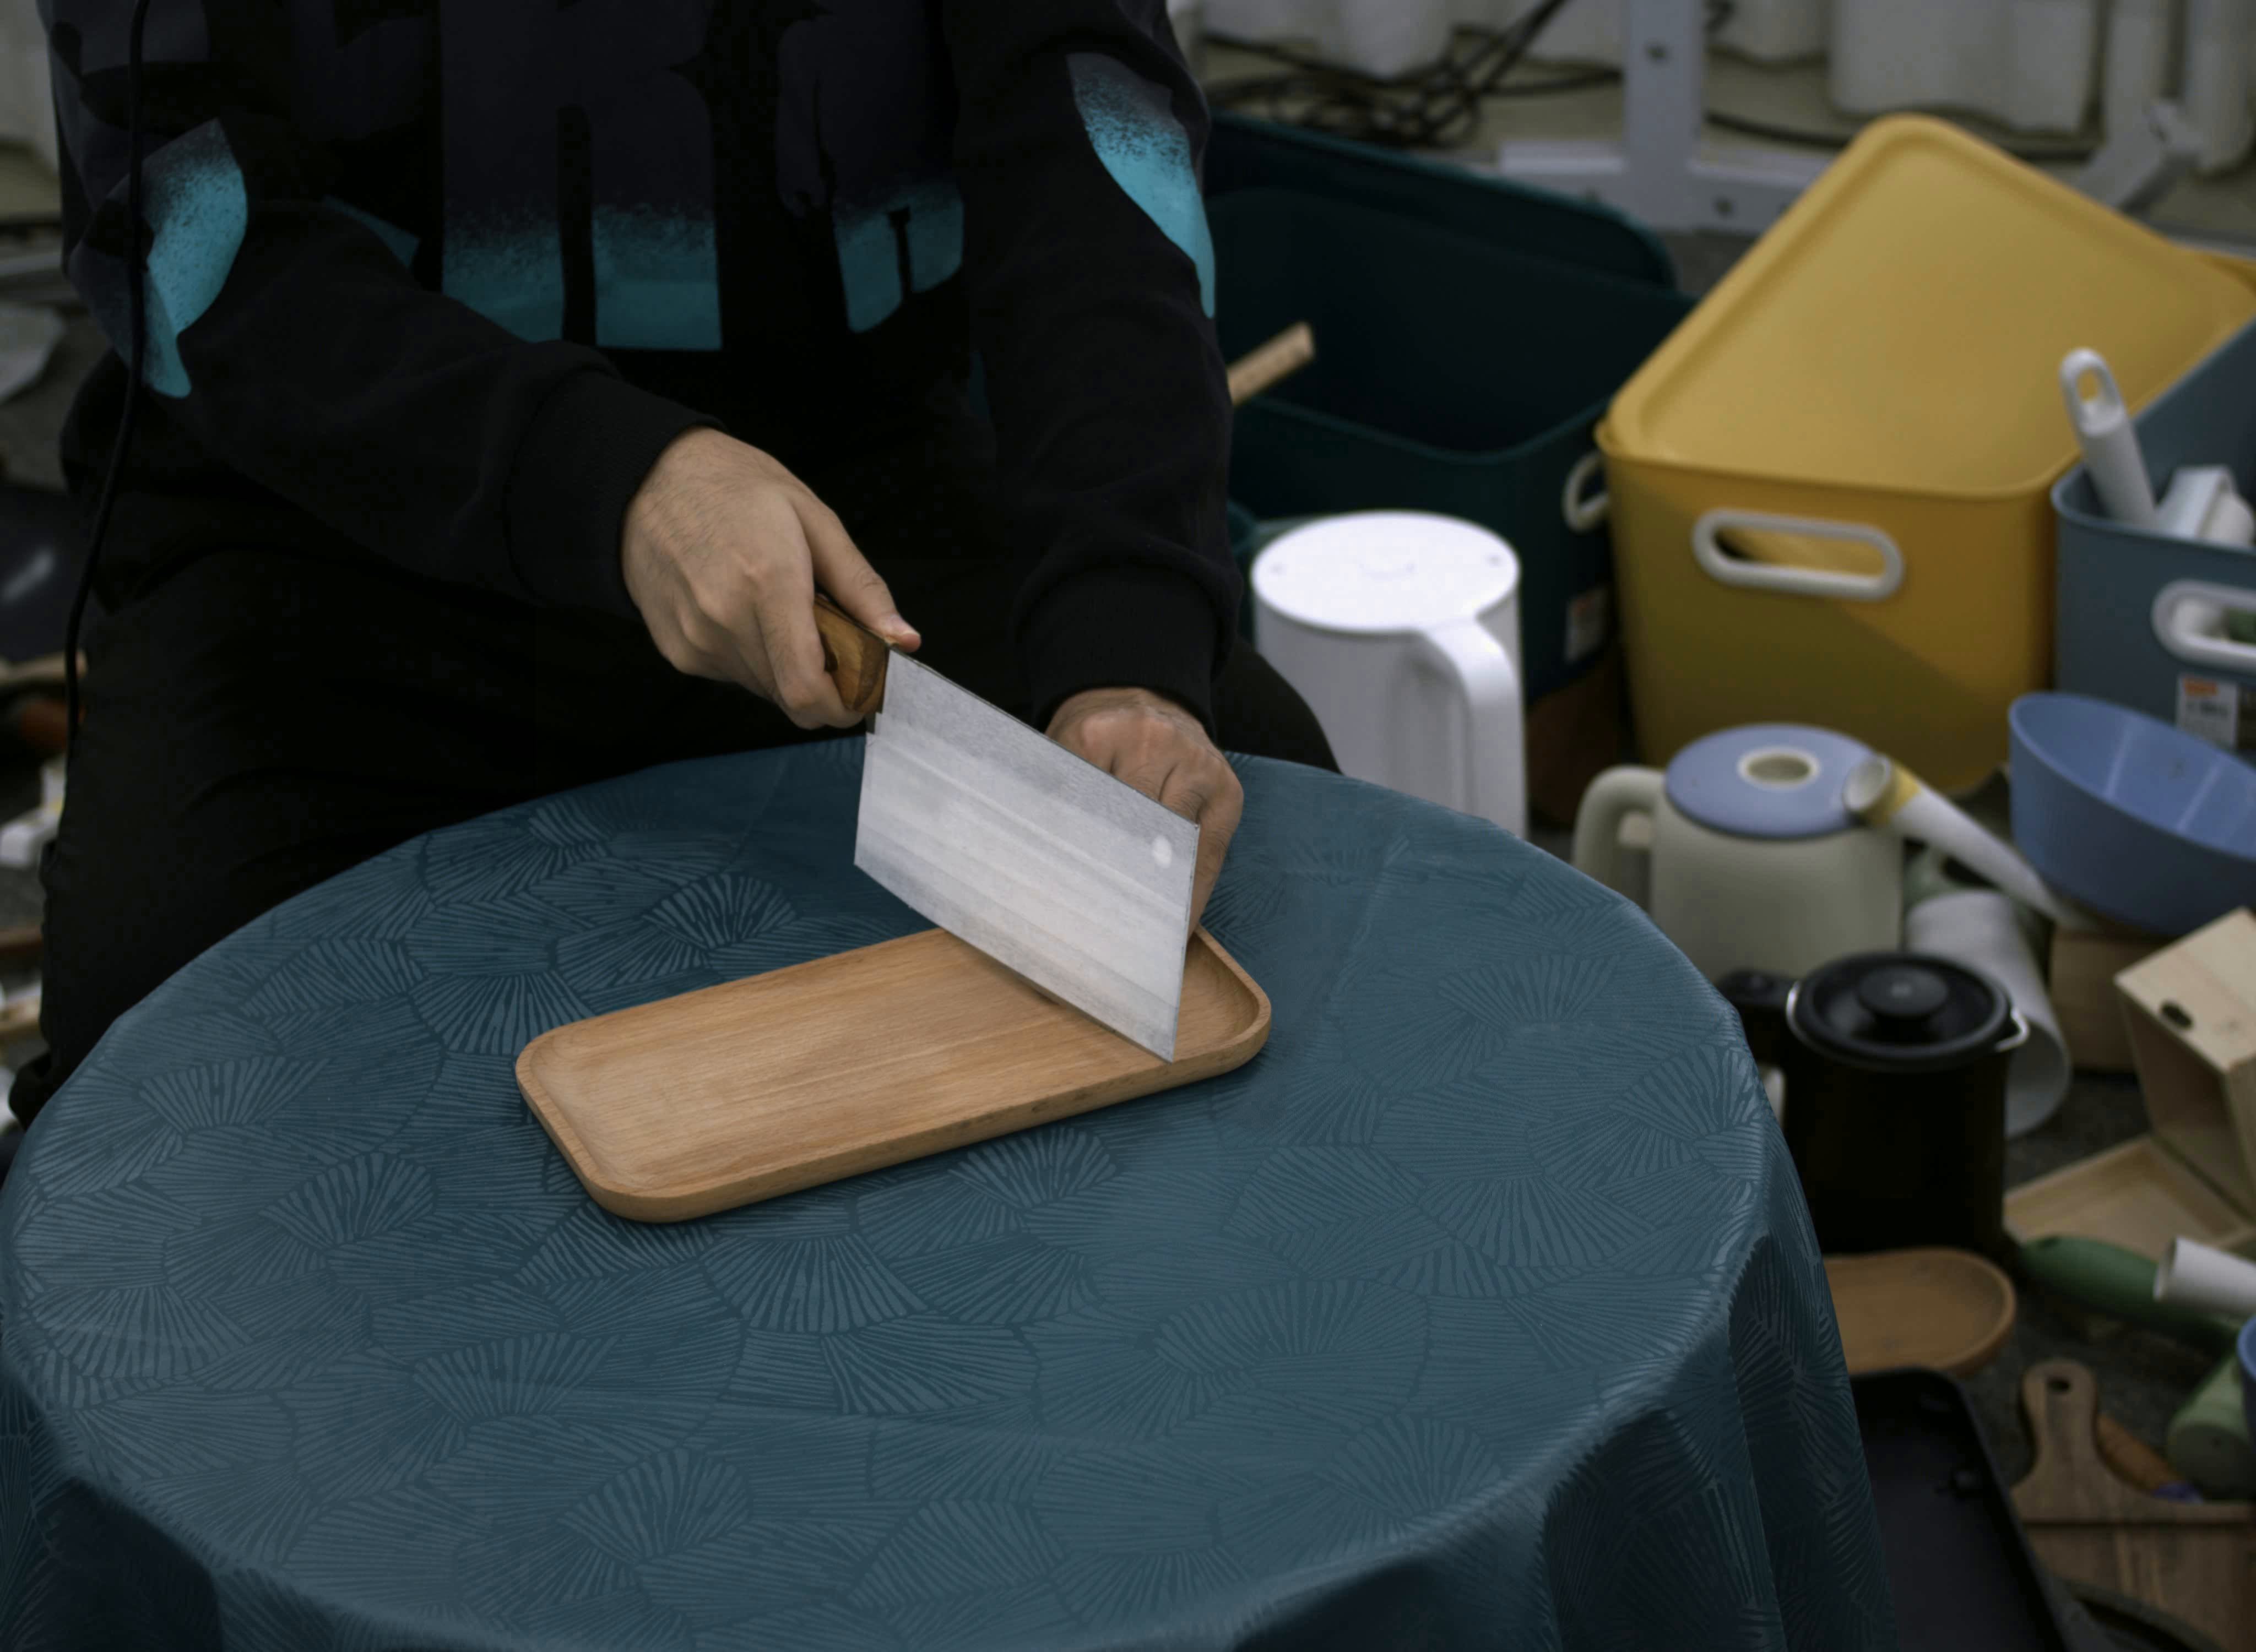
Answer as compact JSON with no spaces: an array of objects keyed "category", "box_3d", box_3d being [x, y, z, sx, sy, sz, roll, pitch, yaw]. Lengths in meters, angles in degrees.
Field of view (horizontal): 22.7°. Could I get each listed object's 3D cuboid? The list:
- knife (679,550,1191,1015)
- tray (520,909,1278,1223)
[{"category":"knife","box_3d":[-0.072,-0.014,1.995,0.021,0.092,0.306,-10,27,-36]},{"category":"tray","box_3d":[-0.078,0.079,1.935,0.251,0.022,0.131,-12,31,-19]}]
